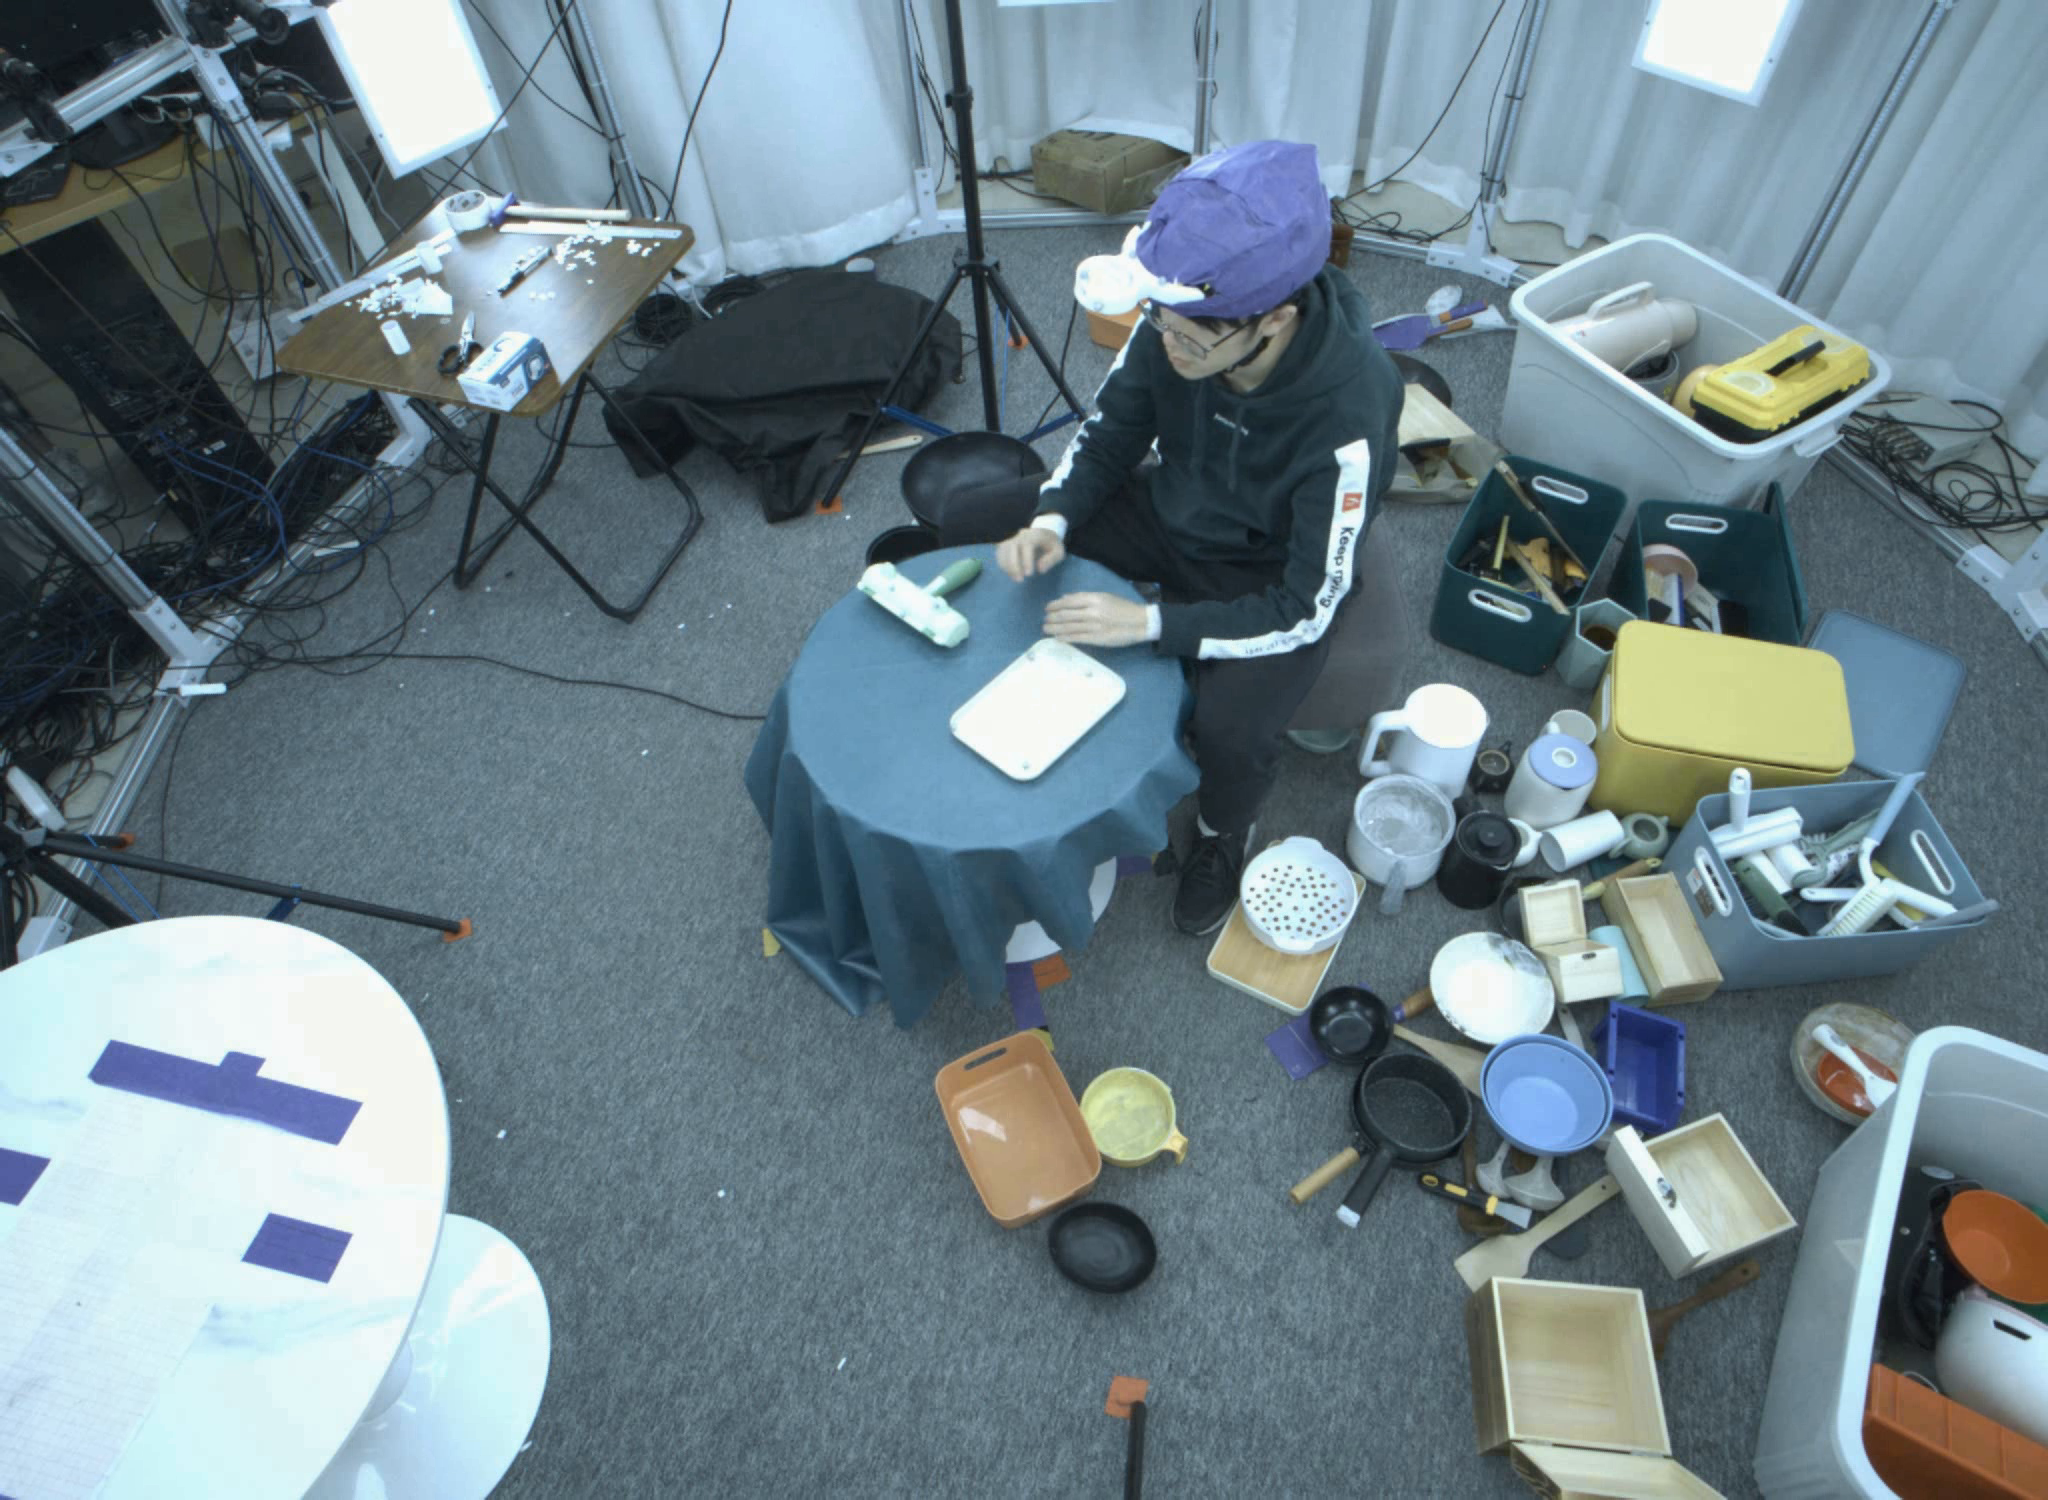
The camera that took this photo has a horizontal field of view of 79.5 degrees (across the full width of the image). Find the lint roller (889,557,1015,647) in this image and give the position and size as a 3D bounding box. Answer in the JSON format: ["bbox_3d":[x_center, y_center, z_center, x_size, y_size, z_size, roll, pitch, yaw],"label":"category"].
[{"bbox_3d":[-0.086,-0.267,1.928,0.195,0.083,0.184,38,68,25],"label":"lint roller"}]

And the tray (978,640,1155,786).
[{"bbox_3d":[0.063,-0.056,1.809,0.168,0.017,0.241,38,64,24],"label":"tray"}]
